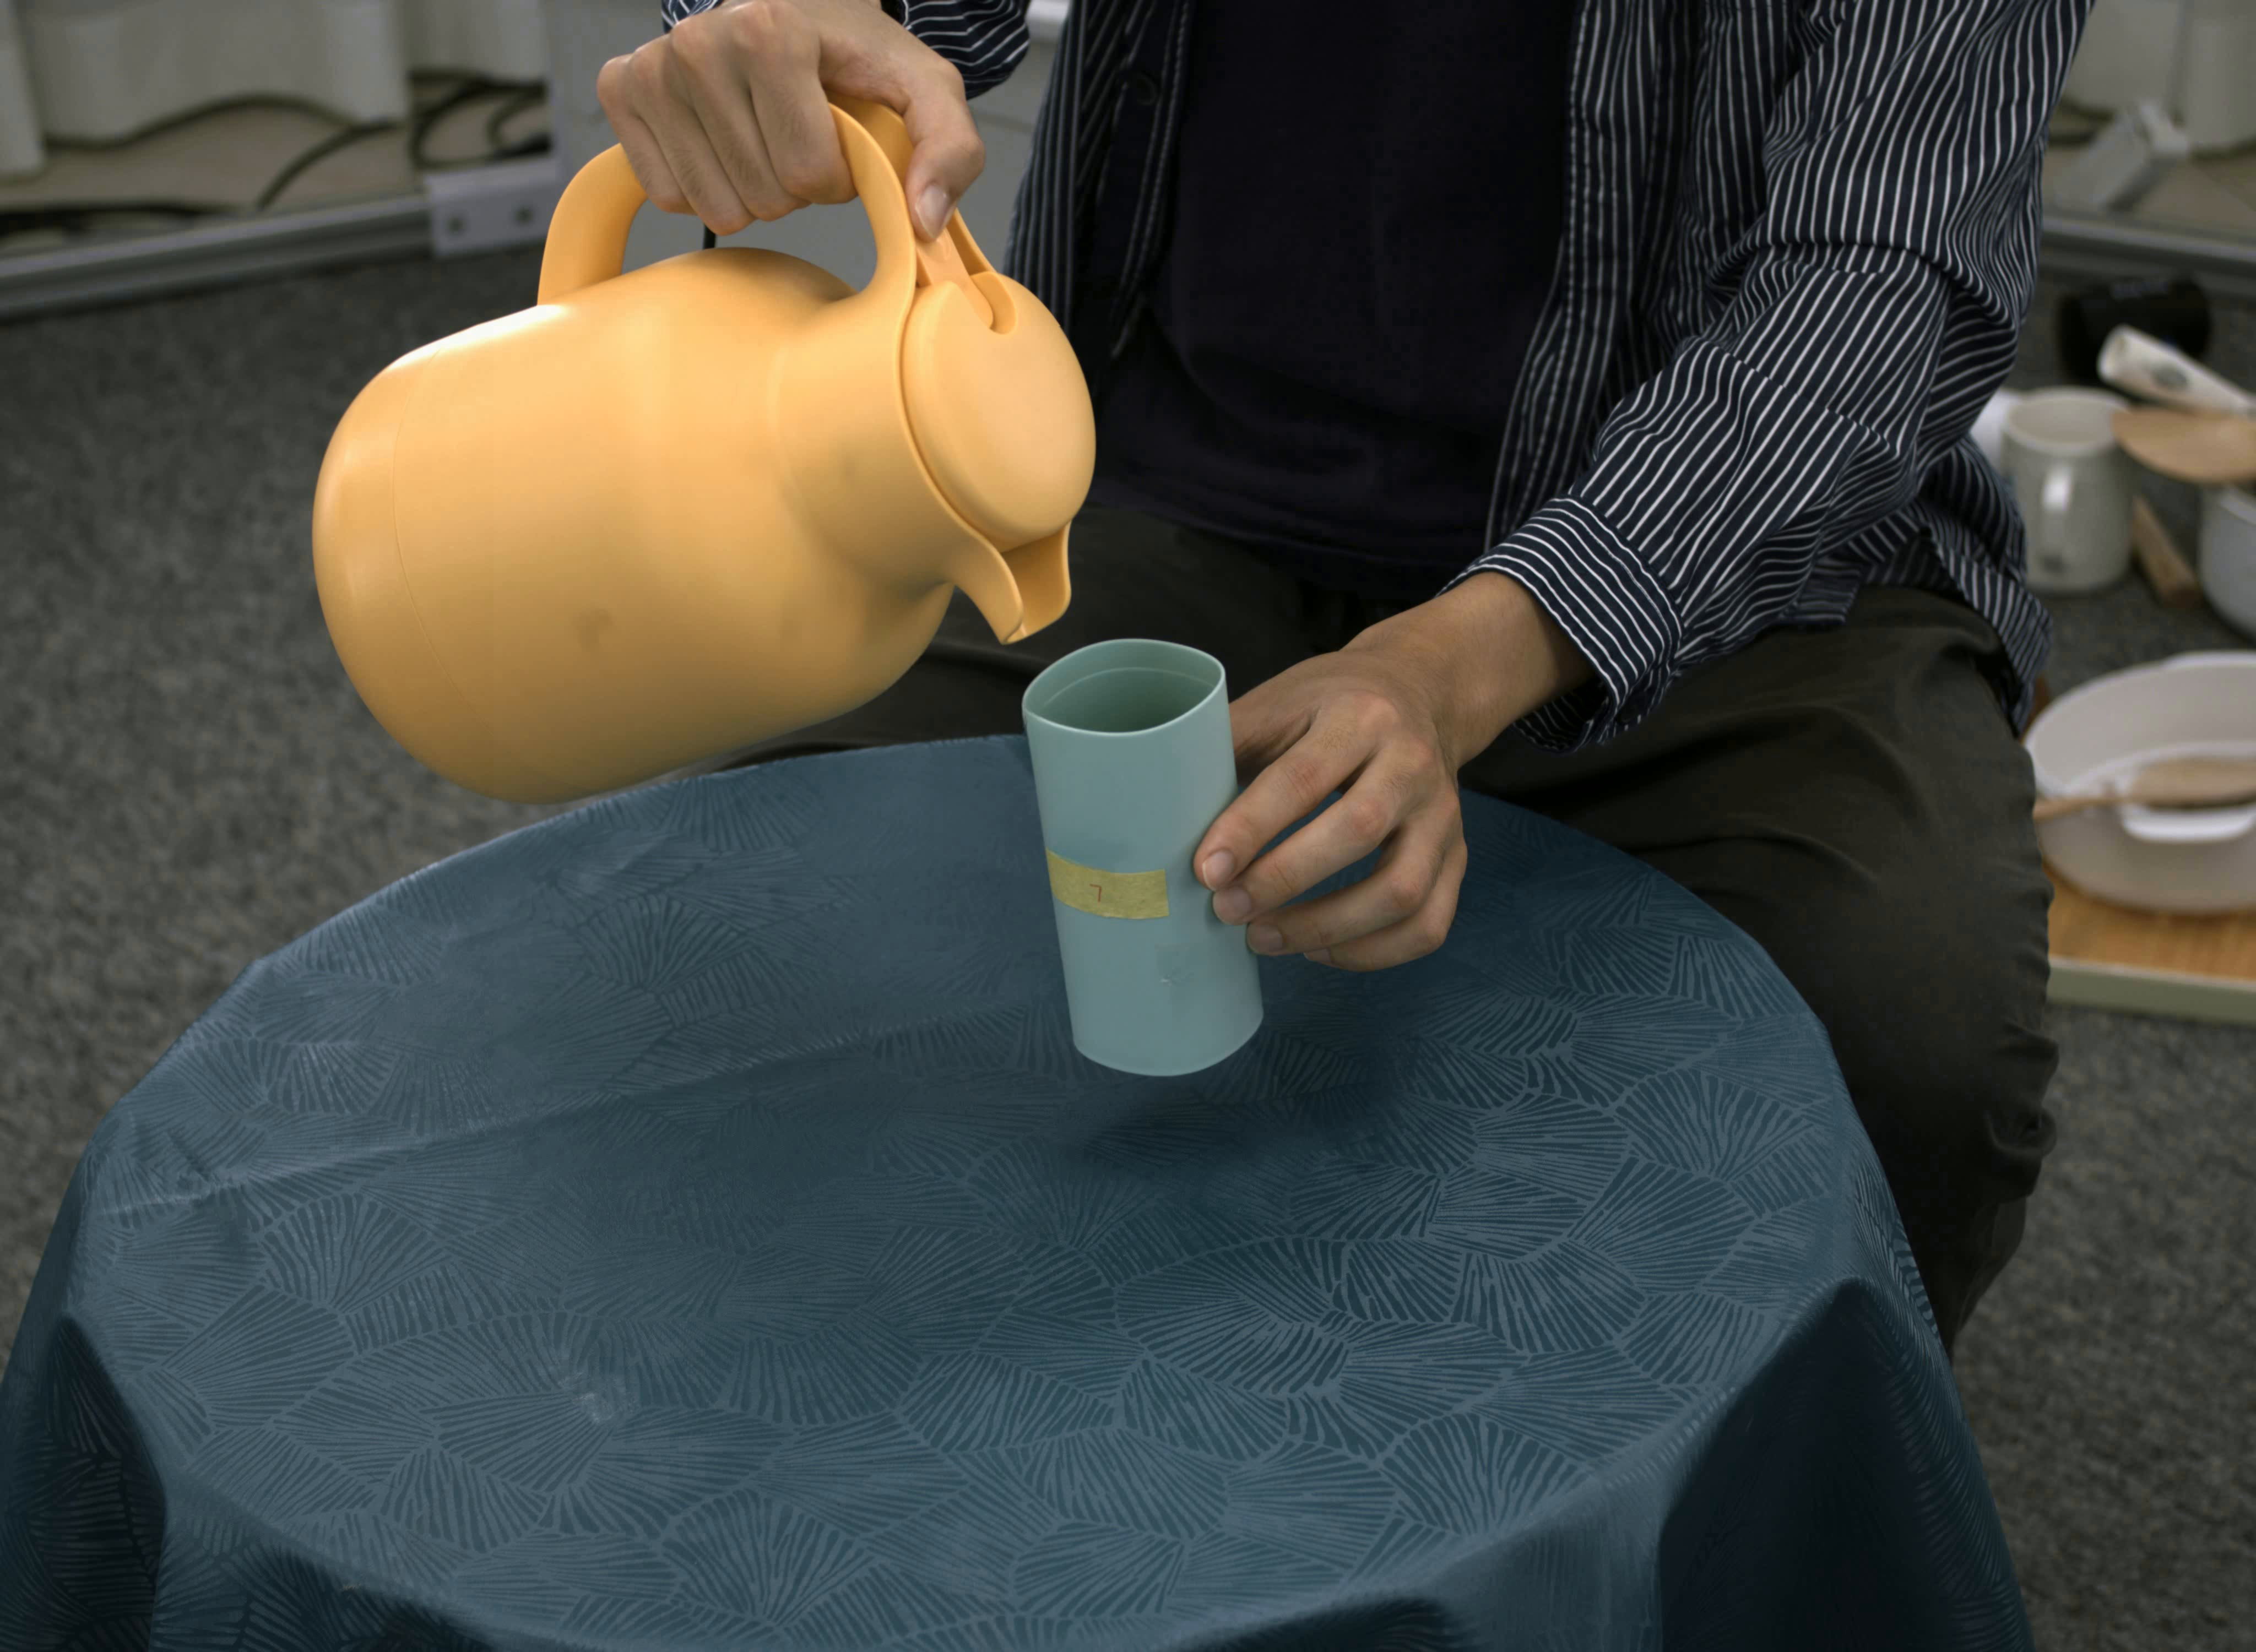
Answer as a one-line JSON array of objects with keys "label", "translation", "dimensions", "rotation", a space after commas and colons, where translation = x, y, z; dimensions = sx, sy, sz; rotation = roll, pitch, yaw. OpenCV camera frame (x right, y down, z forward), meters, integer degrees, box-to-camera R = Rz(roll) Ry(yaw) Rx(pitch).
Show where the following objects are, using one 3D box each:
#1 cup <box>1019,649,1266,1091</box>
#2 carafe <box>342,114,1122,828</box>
[{"label": "cup", "translation": [0.007, 0.014, 1.842], "dimensions": [0.066, 0.131, 0.068], "rotation": [-6, 27, 4]}, {"label": "carafe", "translation": [-0.130, -0.119, 1.859], "dimensions": [0.257, 0.203, 0.165], "rotation": [-16, 2, 34]}]
